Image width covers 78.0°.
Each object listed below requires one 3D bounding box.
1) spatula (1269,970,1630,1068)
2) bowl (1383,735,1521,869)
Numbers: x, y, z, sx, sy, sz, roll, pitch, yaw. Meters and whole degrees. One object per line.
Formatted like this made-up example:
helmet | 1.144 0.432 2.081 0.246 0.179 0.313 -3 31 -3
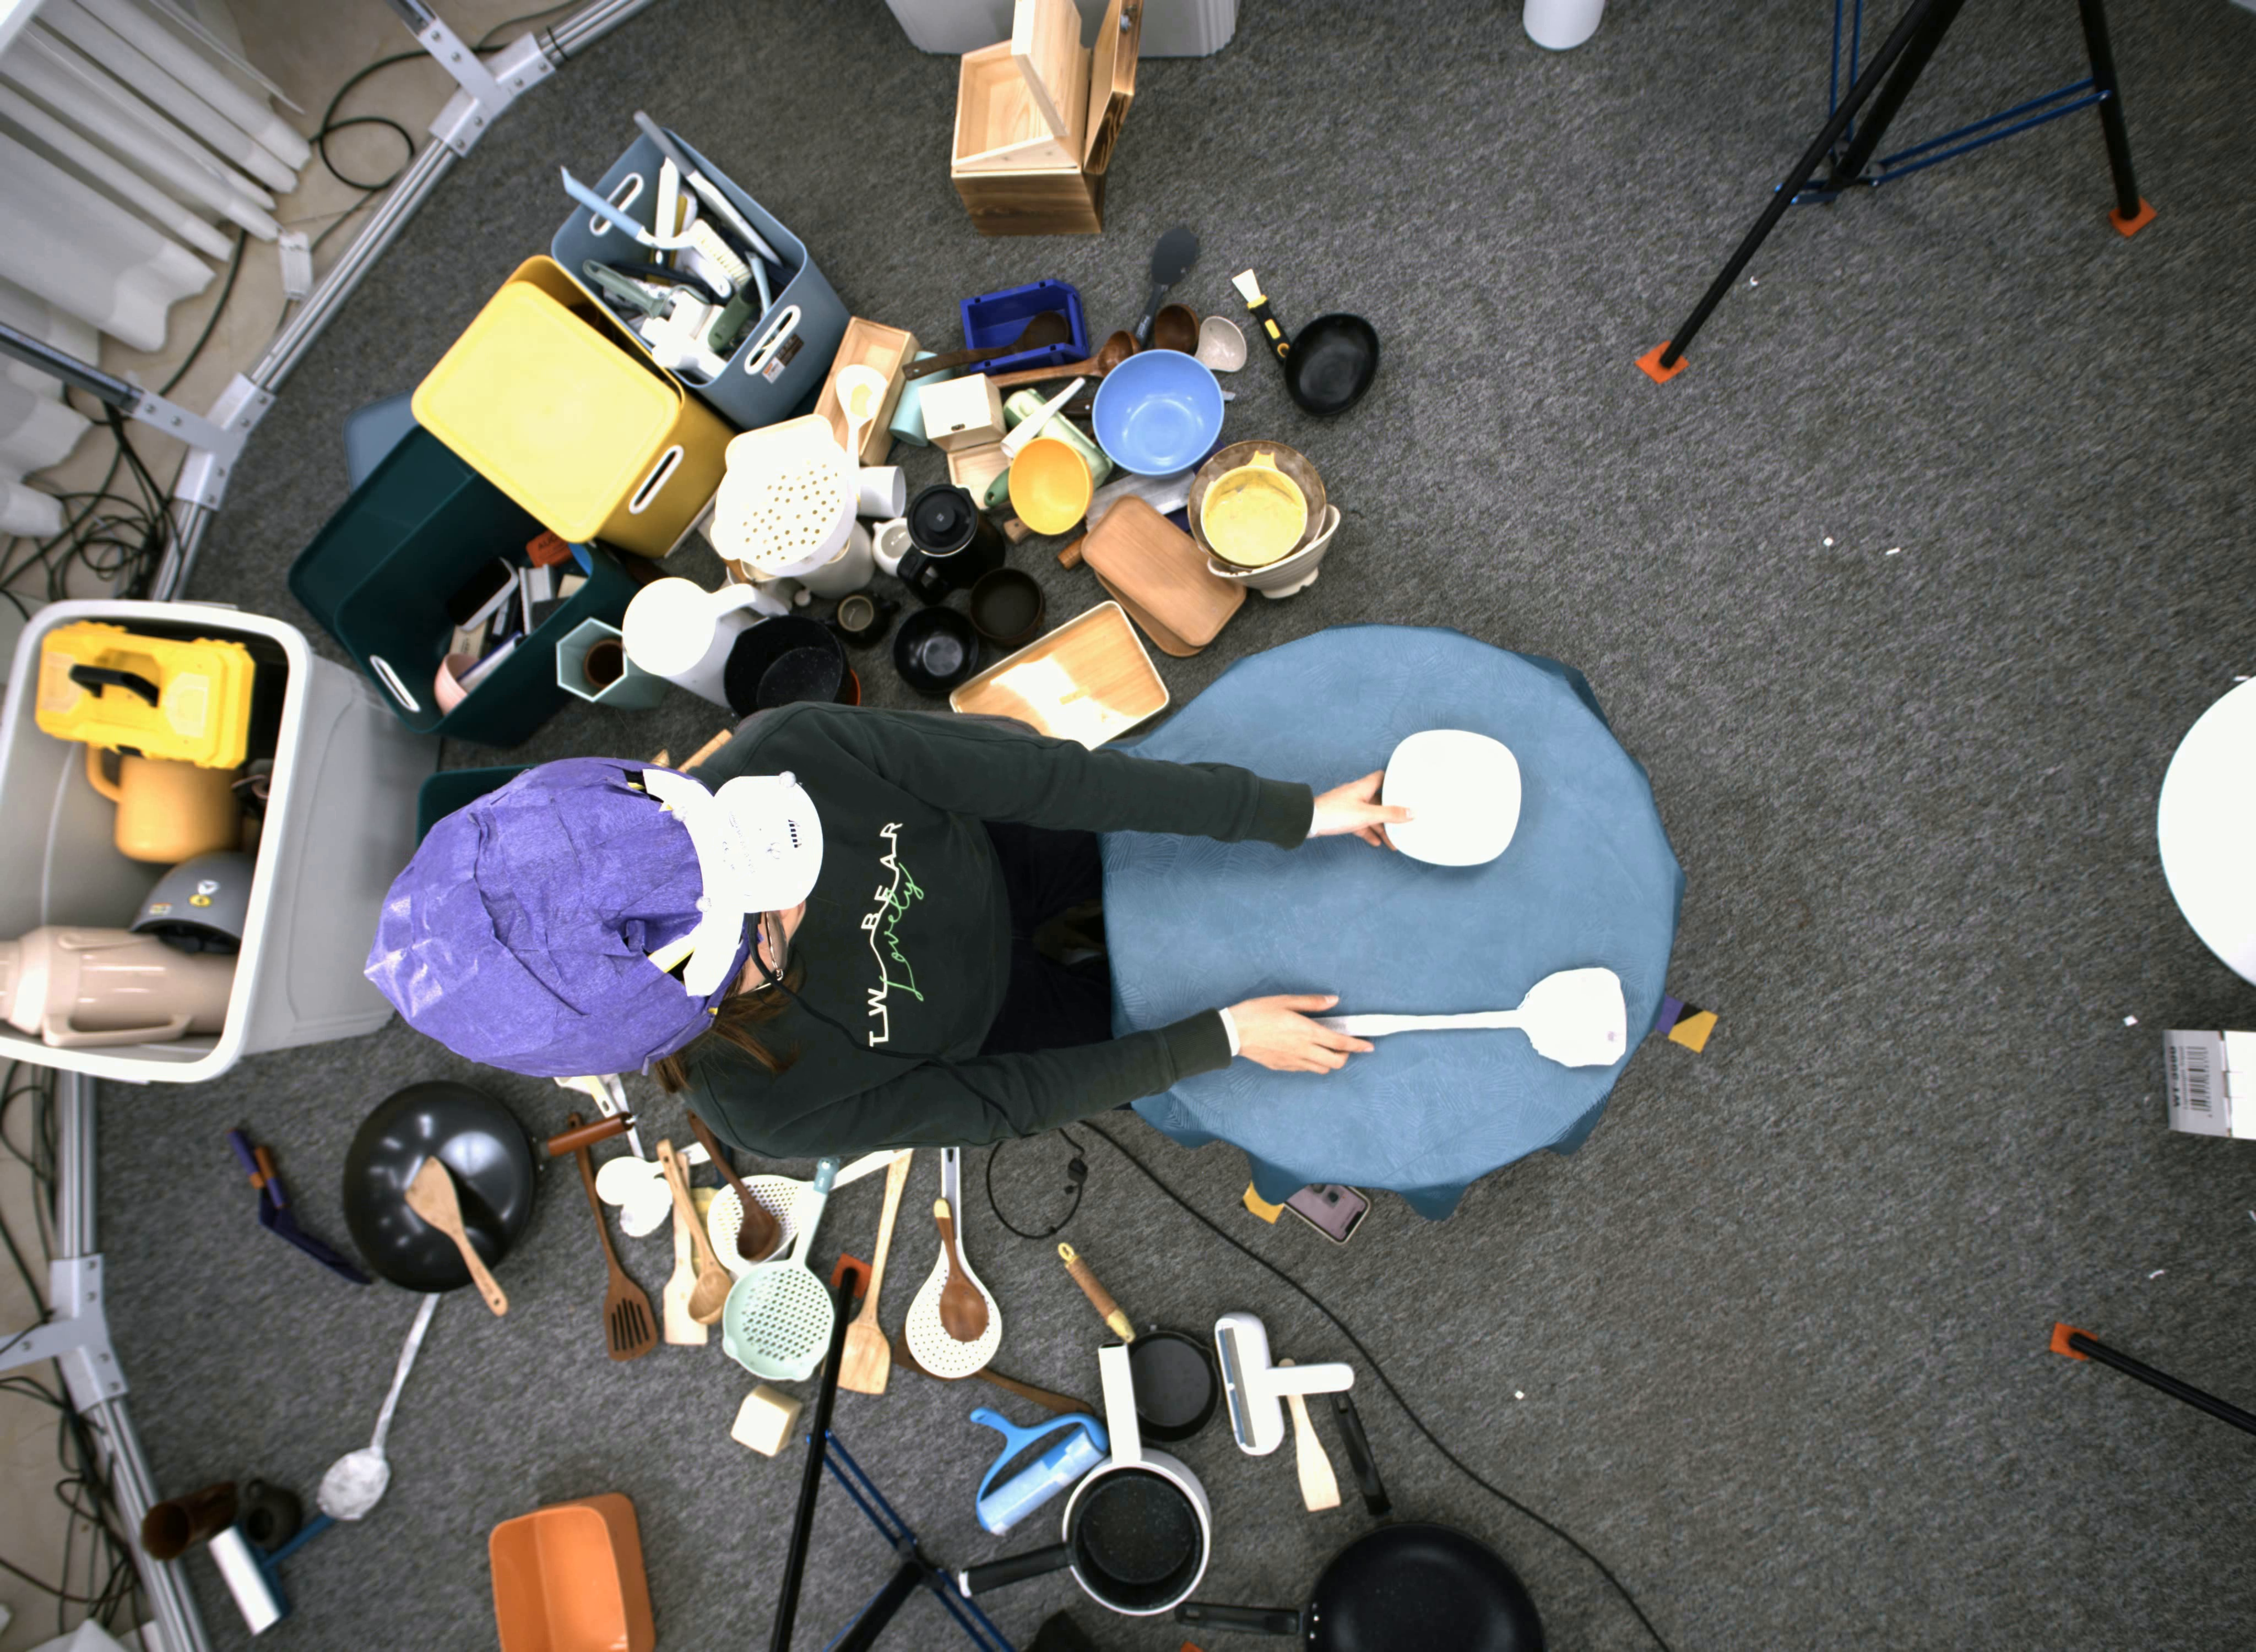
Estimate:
spatula | 0.327 0.199 1.426 0.366 0.045 0.098 -3 87 10
bowl | 0.335 -0.023 1.432 0.152 0.059 0.150 -1 83 9
